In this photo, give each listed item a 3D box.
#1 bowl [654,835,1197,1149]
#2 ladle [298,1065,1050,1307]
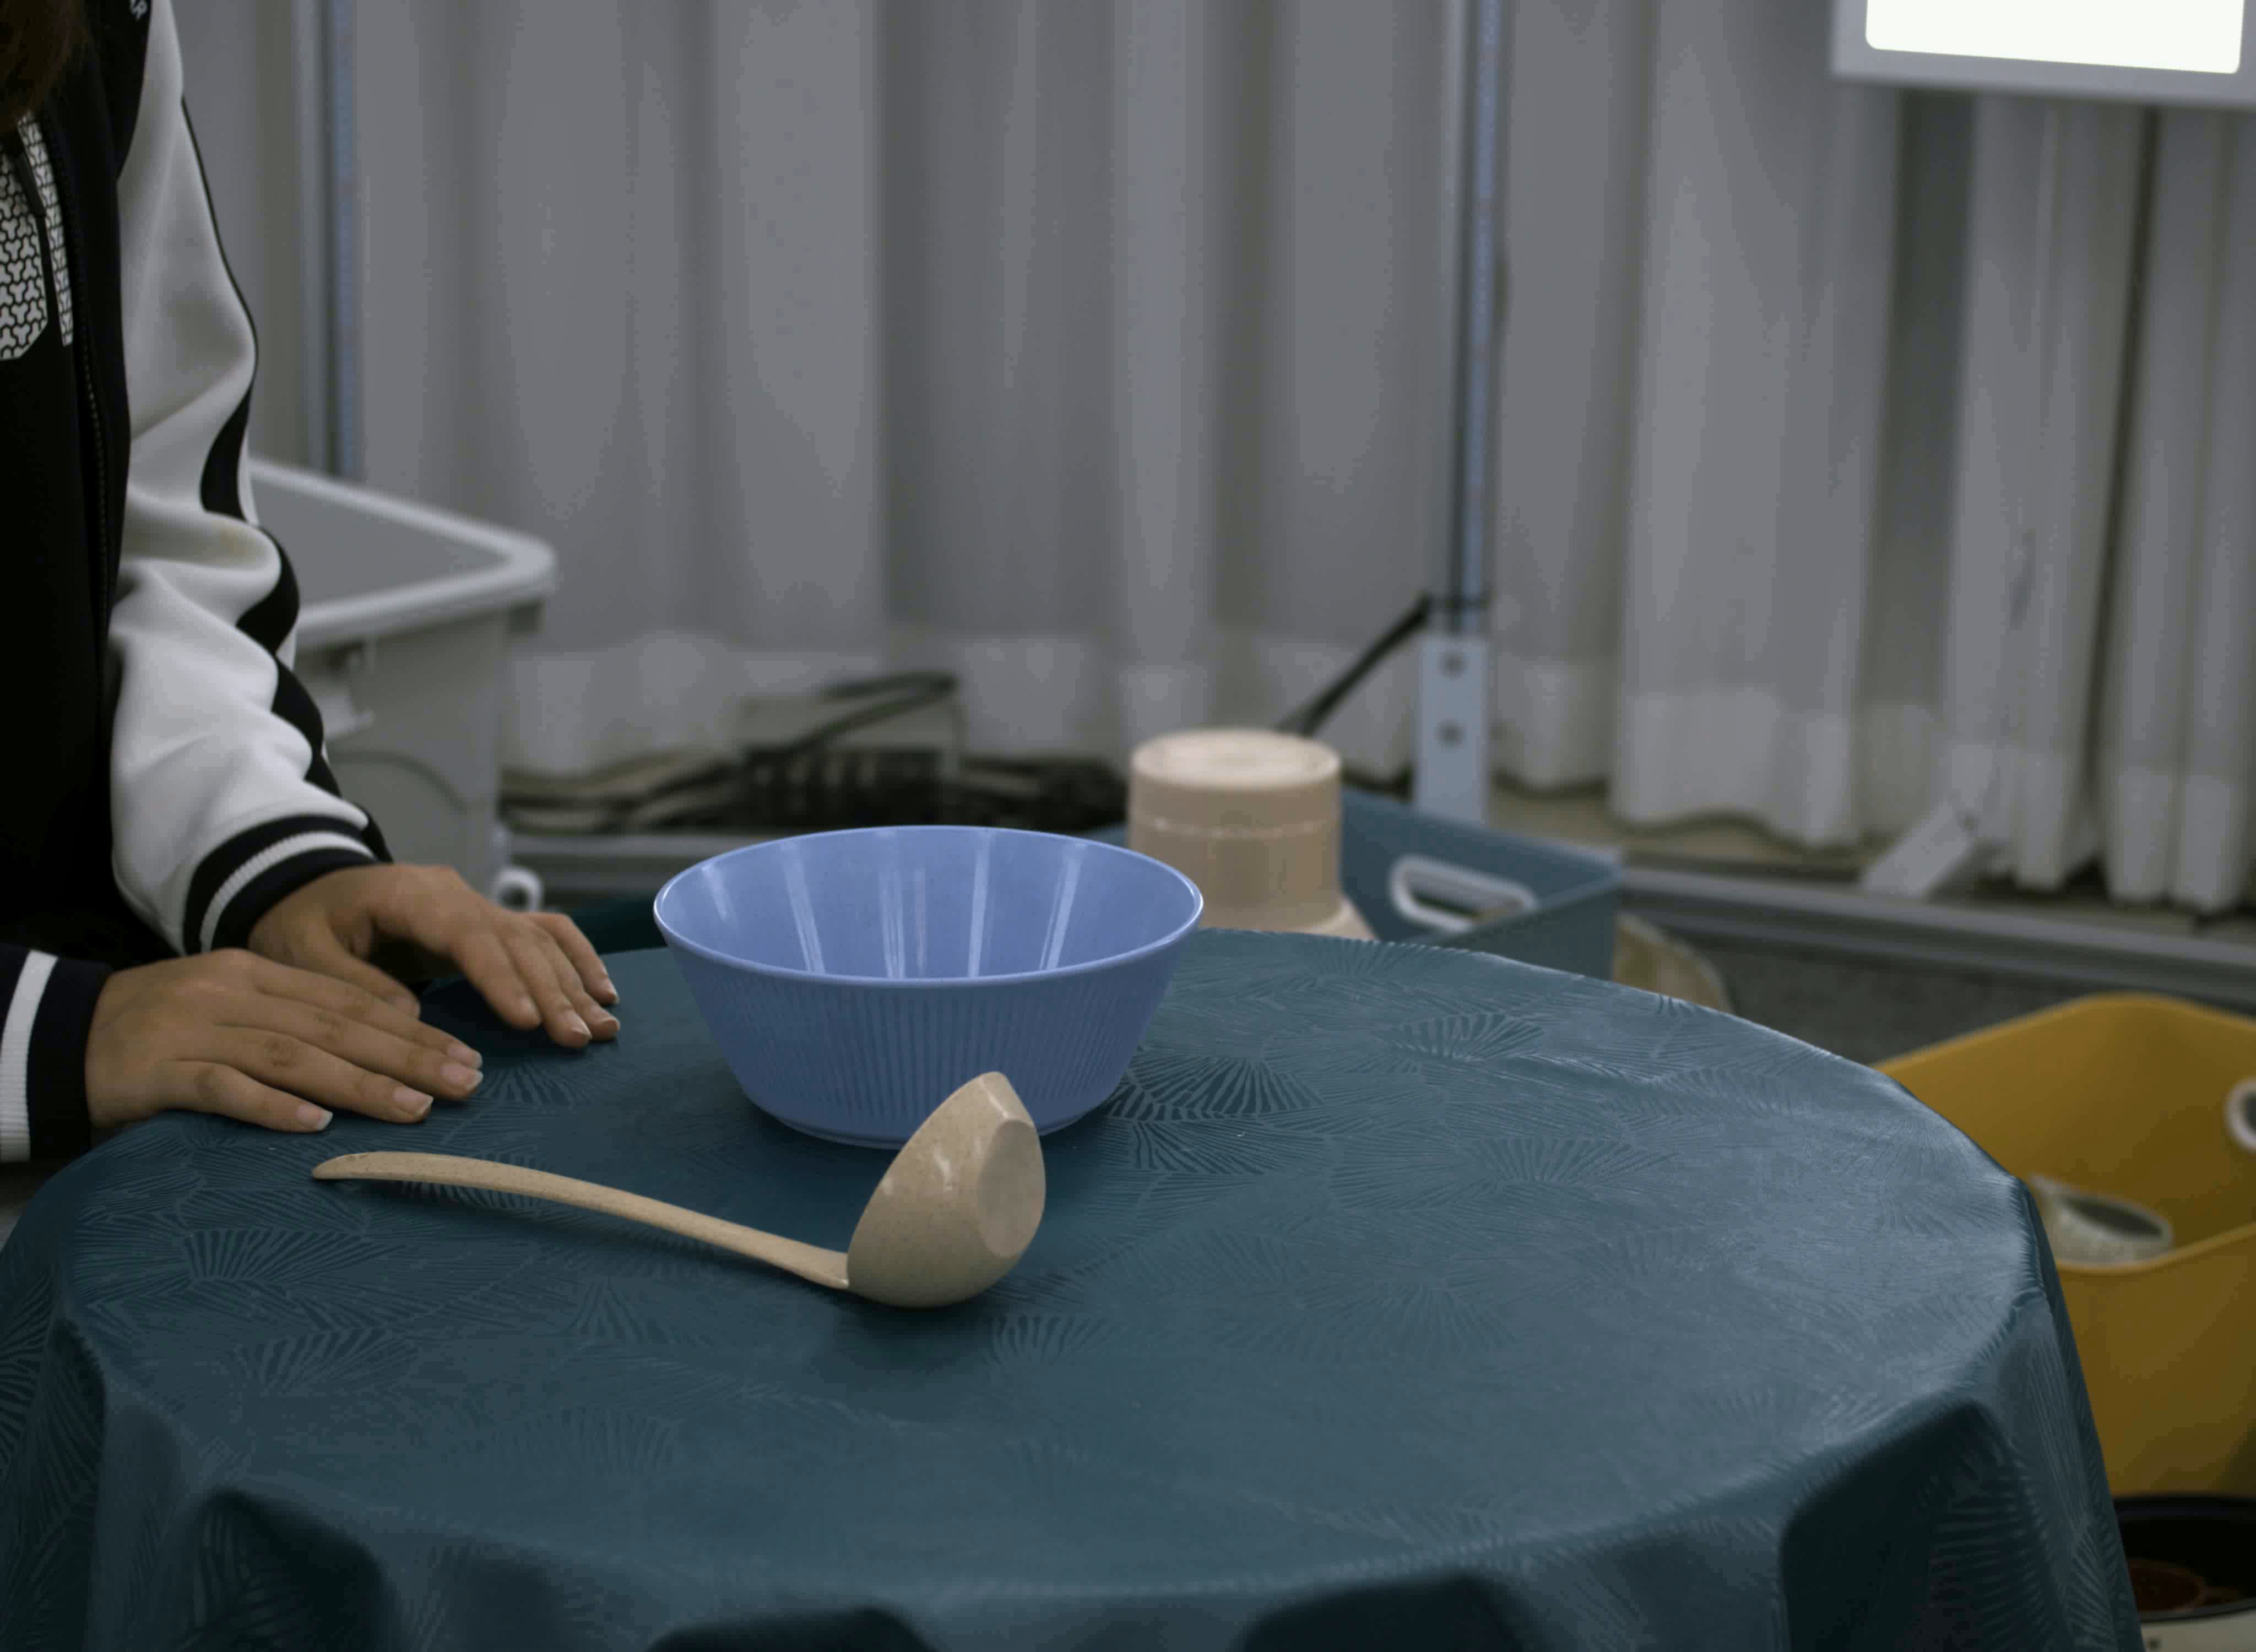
[{"bbox_3d":[-0.065,0.055,1.694,0.175,0.071,0.175,1,15,0],"label":"bowl"},{"bbox_3d":[-0.142,0.091,1.558,0.251,0.073,0.072,8,17,26],"label":"ladle"}]
